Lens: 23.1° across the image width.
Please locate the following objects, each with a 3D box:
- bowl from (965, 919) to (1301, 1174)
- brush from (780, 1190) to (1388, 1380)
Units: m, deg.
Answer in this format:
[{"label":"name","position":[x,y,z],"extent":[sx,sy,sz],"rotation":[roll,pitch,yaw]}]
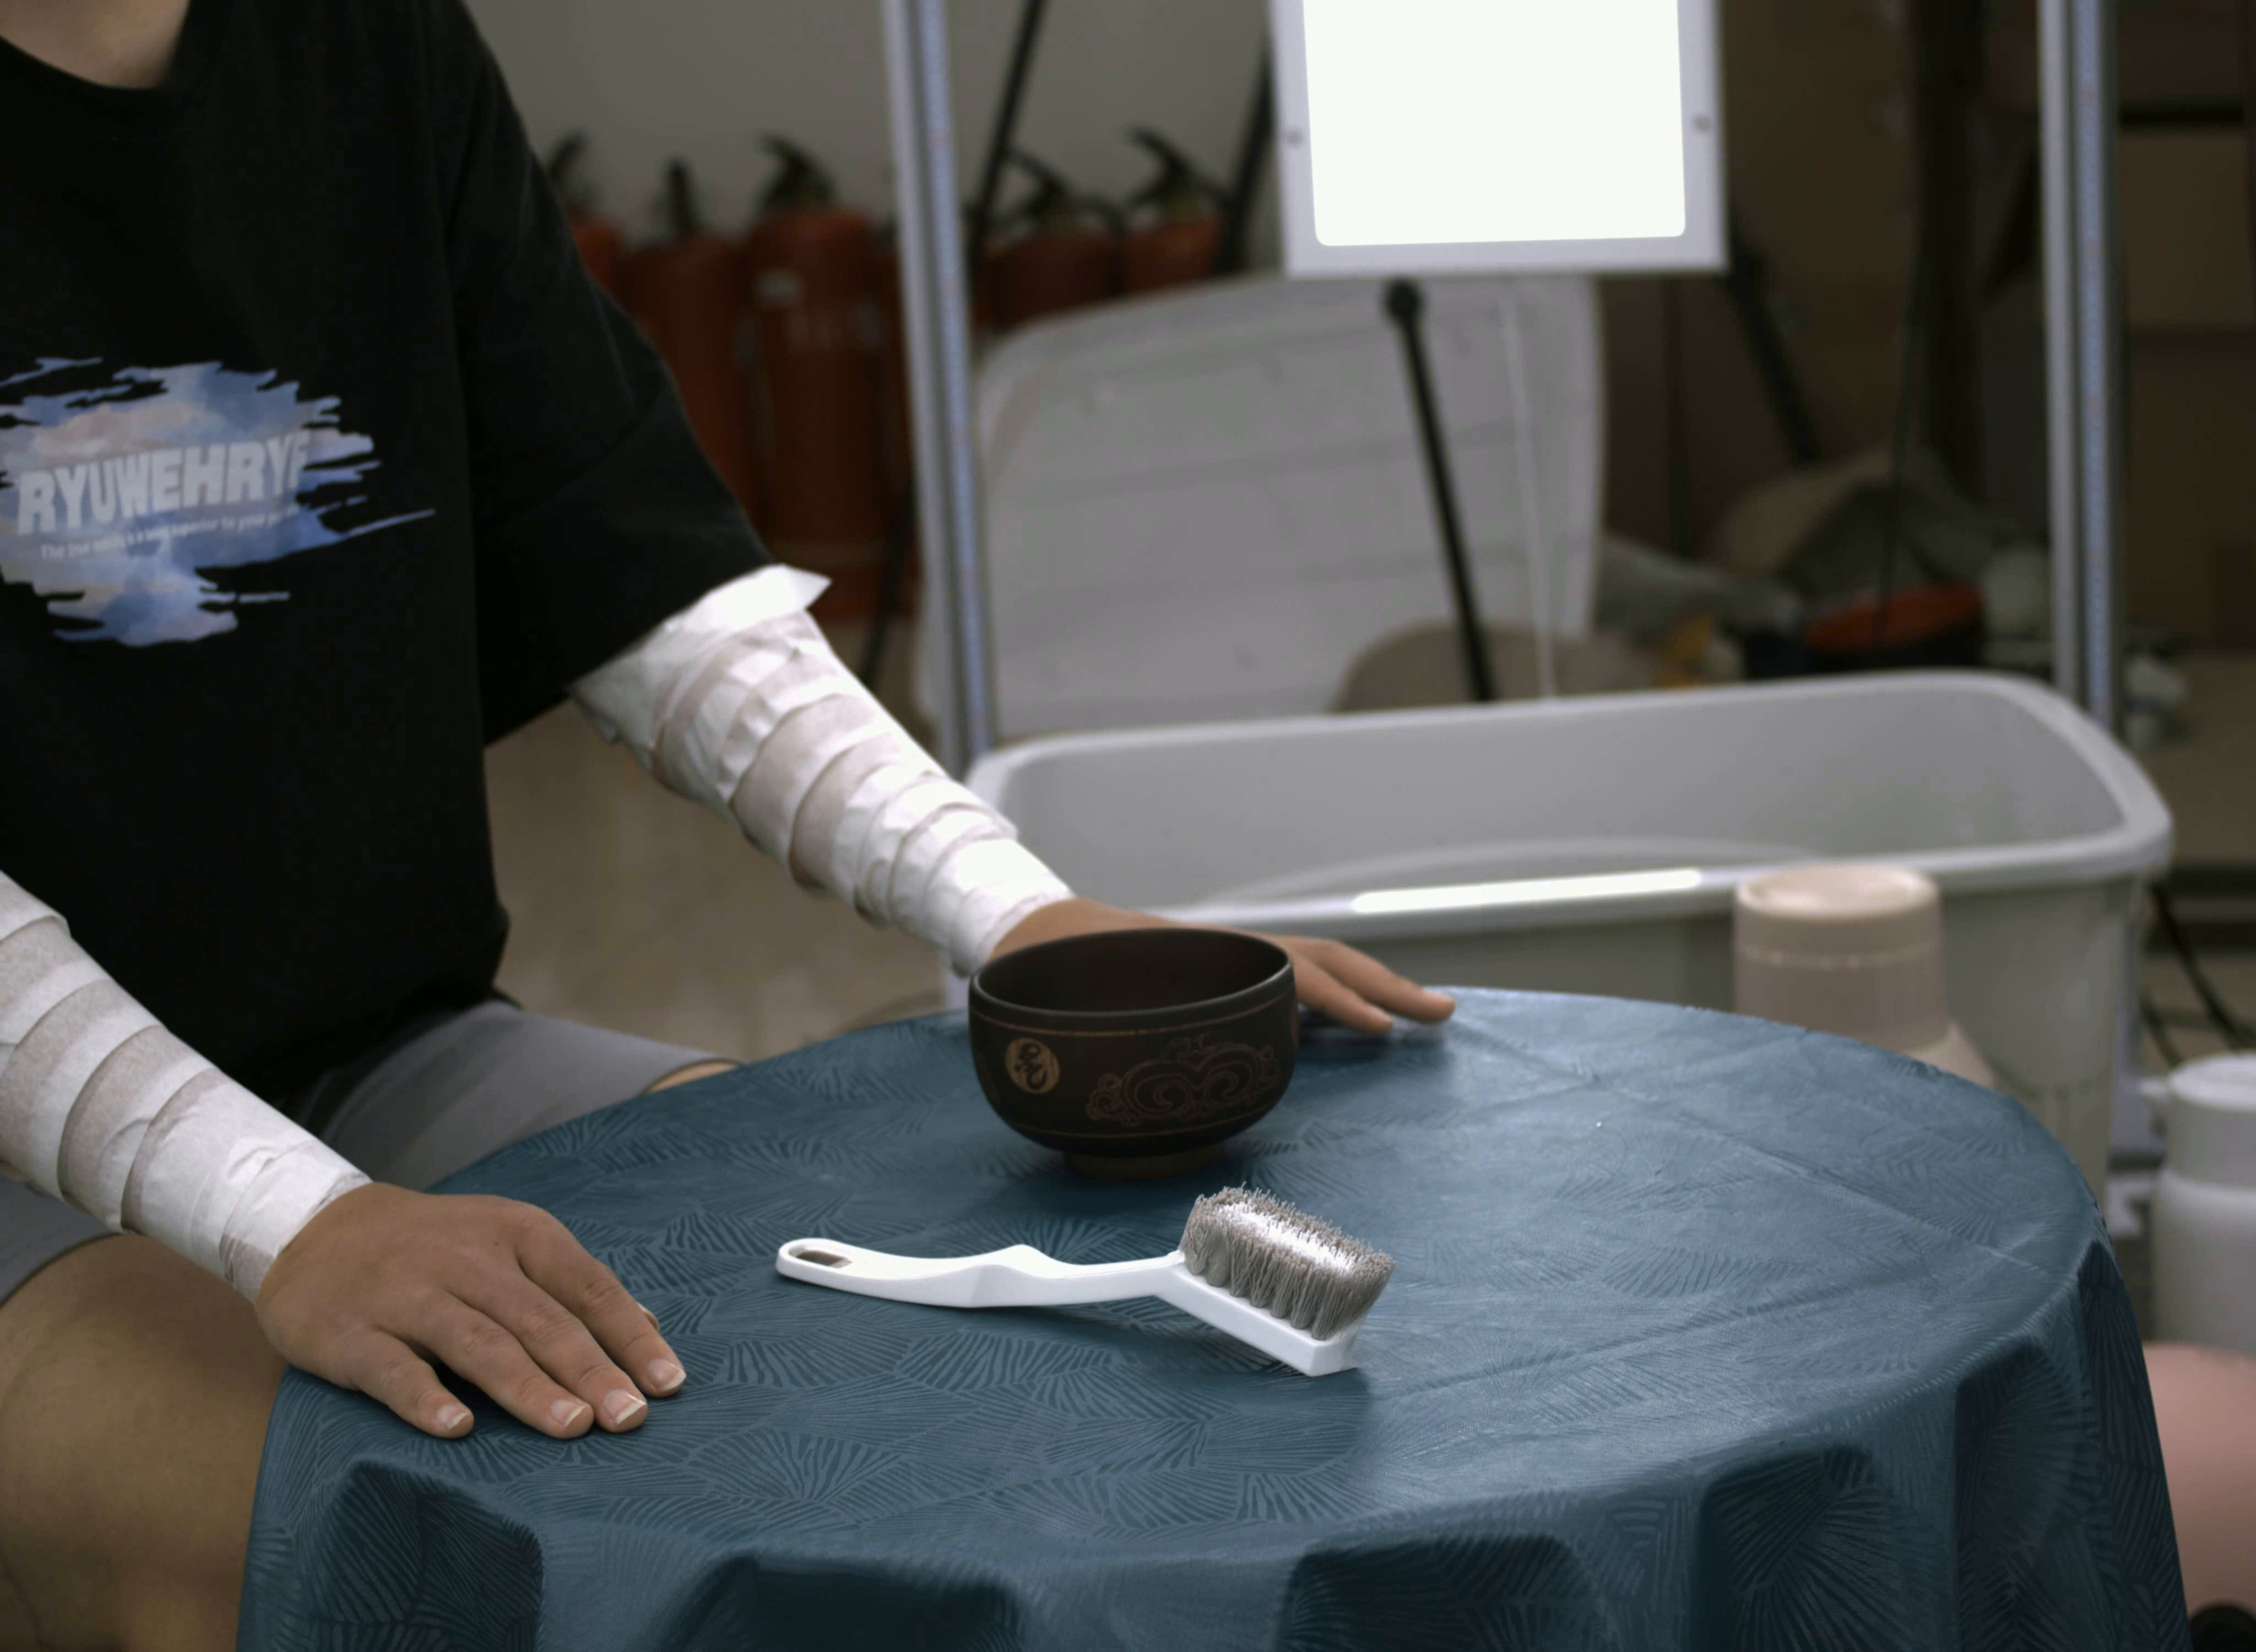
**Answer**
[{"label":"bowl","position":[0.004,0.081,1.930],"extent":[0.118,0.070,0.118],"rotation":[-7,14,0]},{"label":"brush","position":[-0.020,0.133,1.769],"extent":[0.249,0.050,0.033],"rotation":[8,18,40]}]
